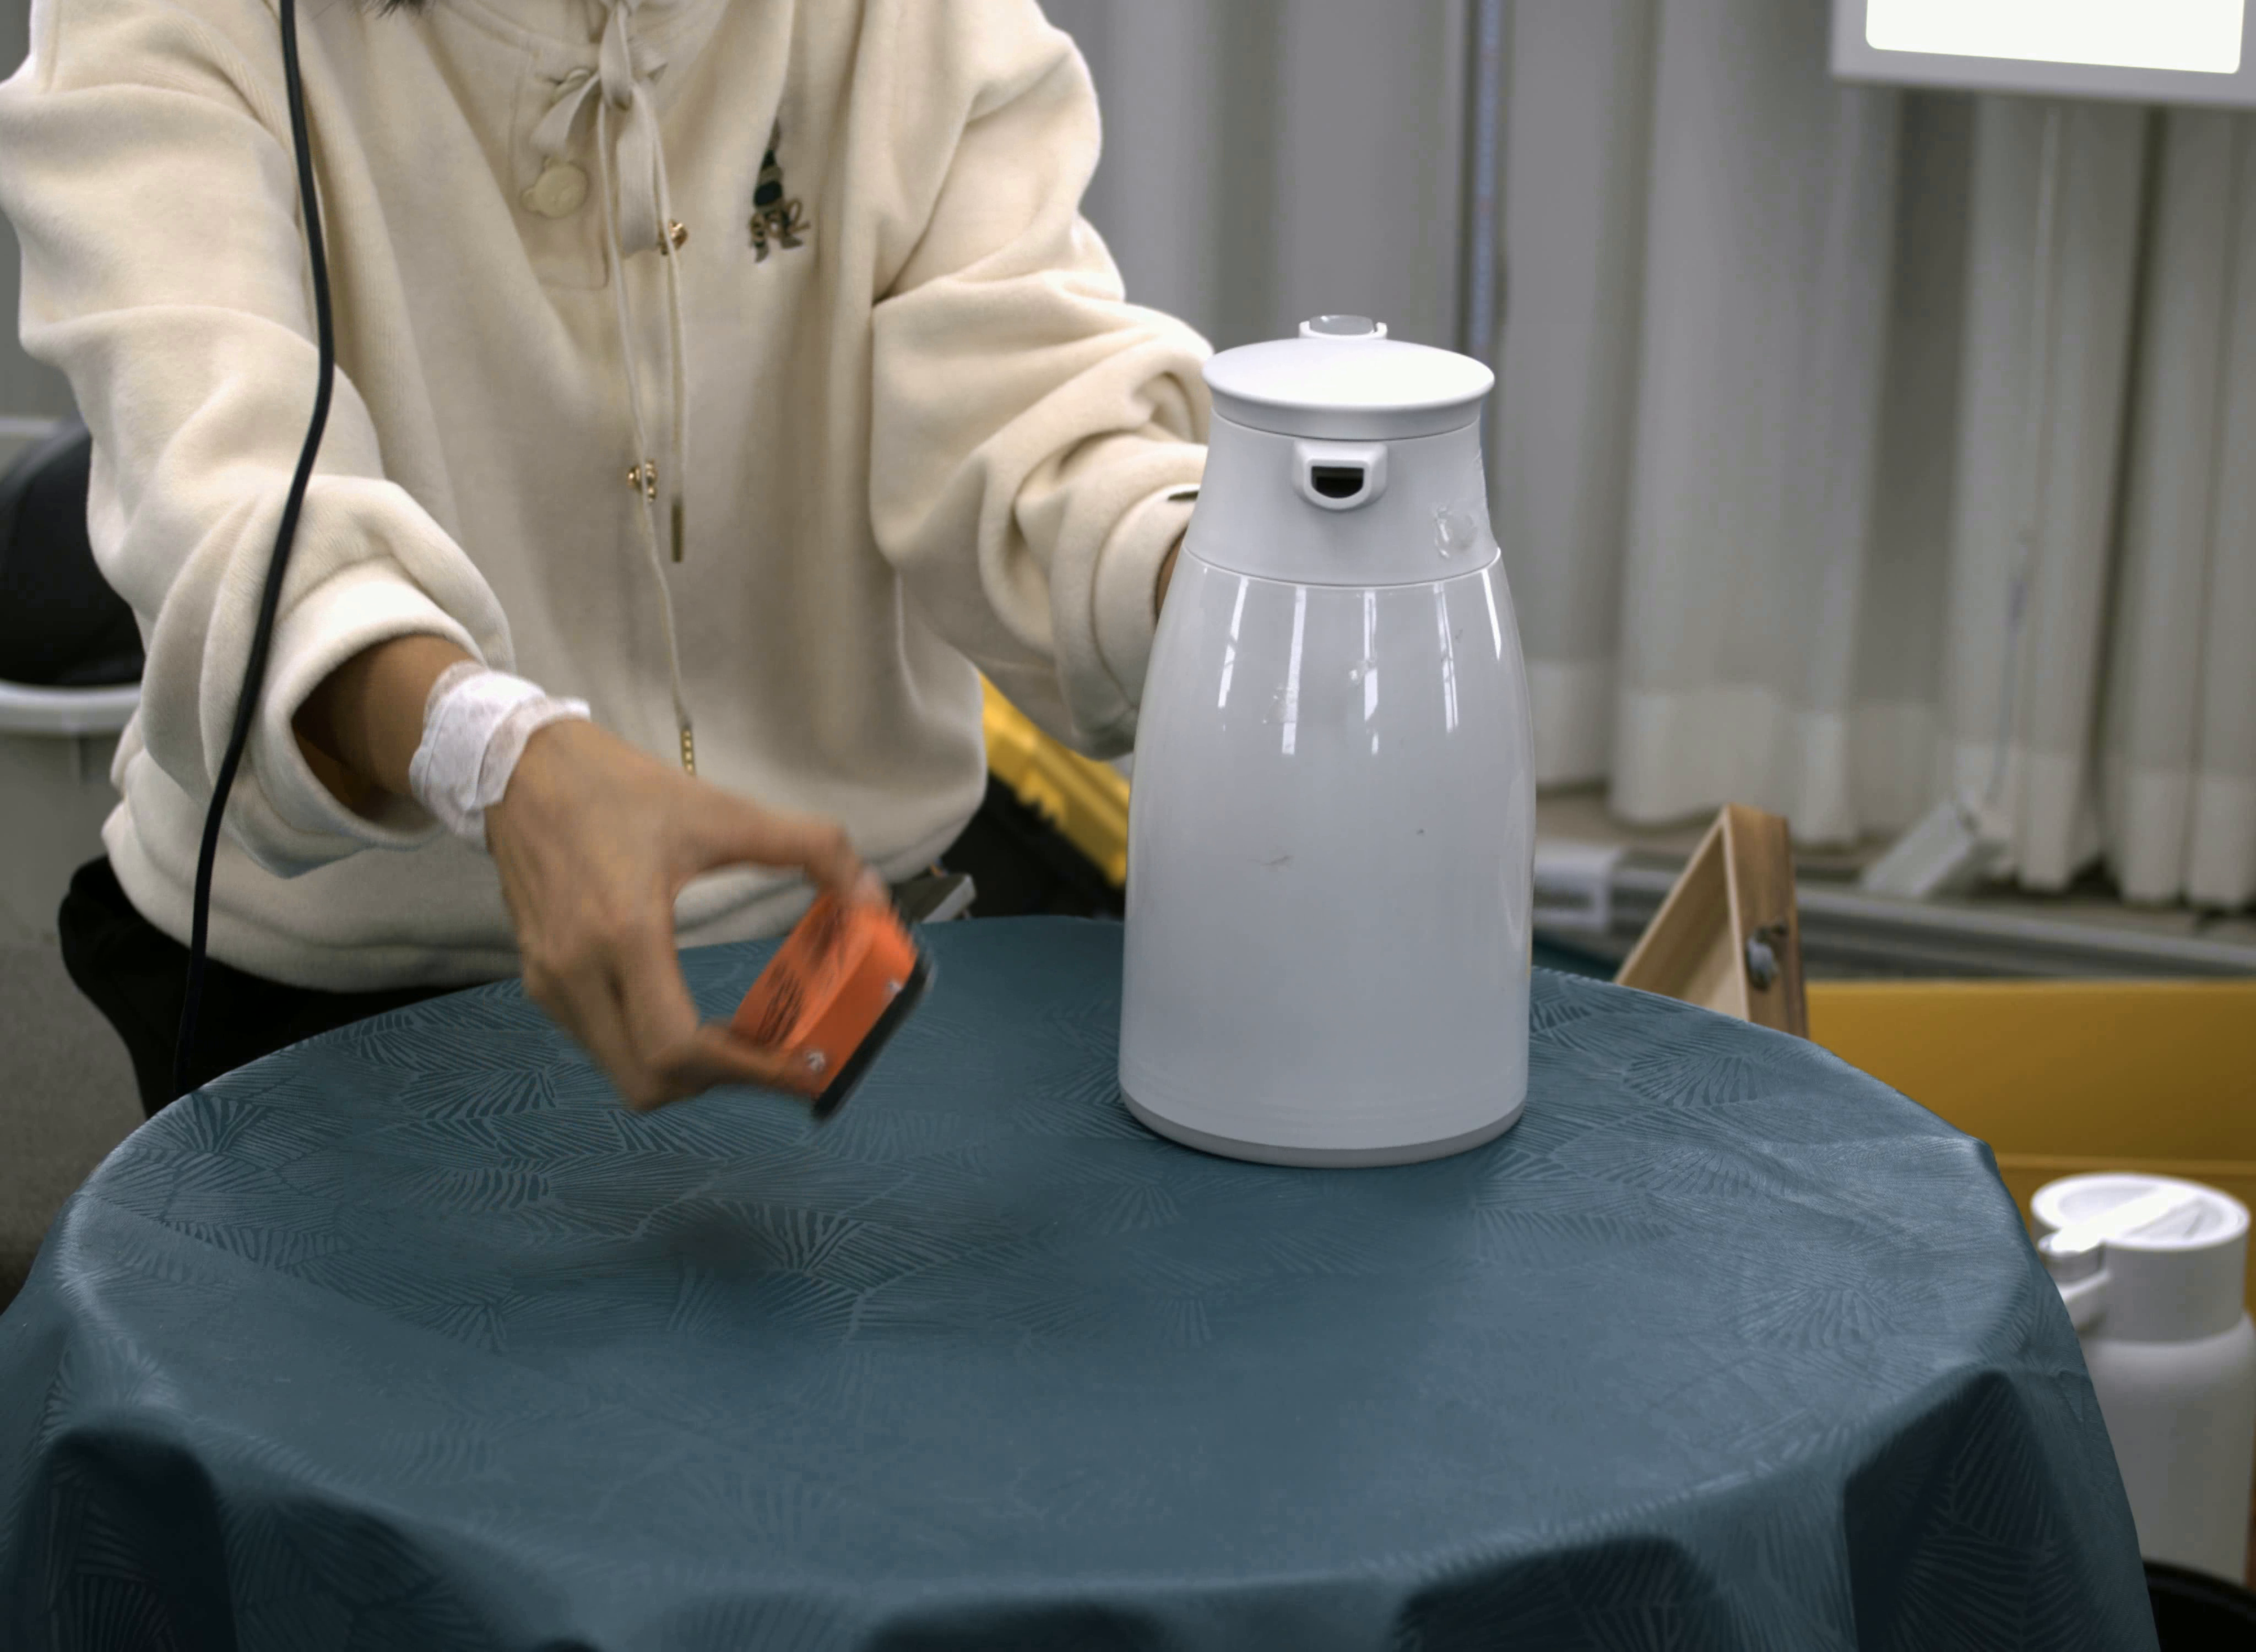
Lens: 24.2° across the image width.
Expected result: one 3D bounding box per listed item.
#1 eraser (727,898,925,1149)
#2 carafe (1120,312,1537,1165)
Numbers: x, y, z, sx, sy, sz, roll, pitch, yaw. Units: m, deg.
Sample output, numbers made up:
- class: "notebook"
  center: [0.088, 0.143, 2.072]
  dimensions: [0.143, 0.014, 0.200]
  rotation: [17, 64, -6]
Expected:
- class: "eraser"
  center: [-0.090, 0.057, 1.558]
  dimensions: [0.023, 0.059, 0.107]
  rotation: [39, 2, -13]
- class: "carafe"
  center: [0.066, -0.036, 1.682]
  dimensions: [0.132, 0.251, 0.167]
  rotation: [2, 17, 2]
